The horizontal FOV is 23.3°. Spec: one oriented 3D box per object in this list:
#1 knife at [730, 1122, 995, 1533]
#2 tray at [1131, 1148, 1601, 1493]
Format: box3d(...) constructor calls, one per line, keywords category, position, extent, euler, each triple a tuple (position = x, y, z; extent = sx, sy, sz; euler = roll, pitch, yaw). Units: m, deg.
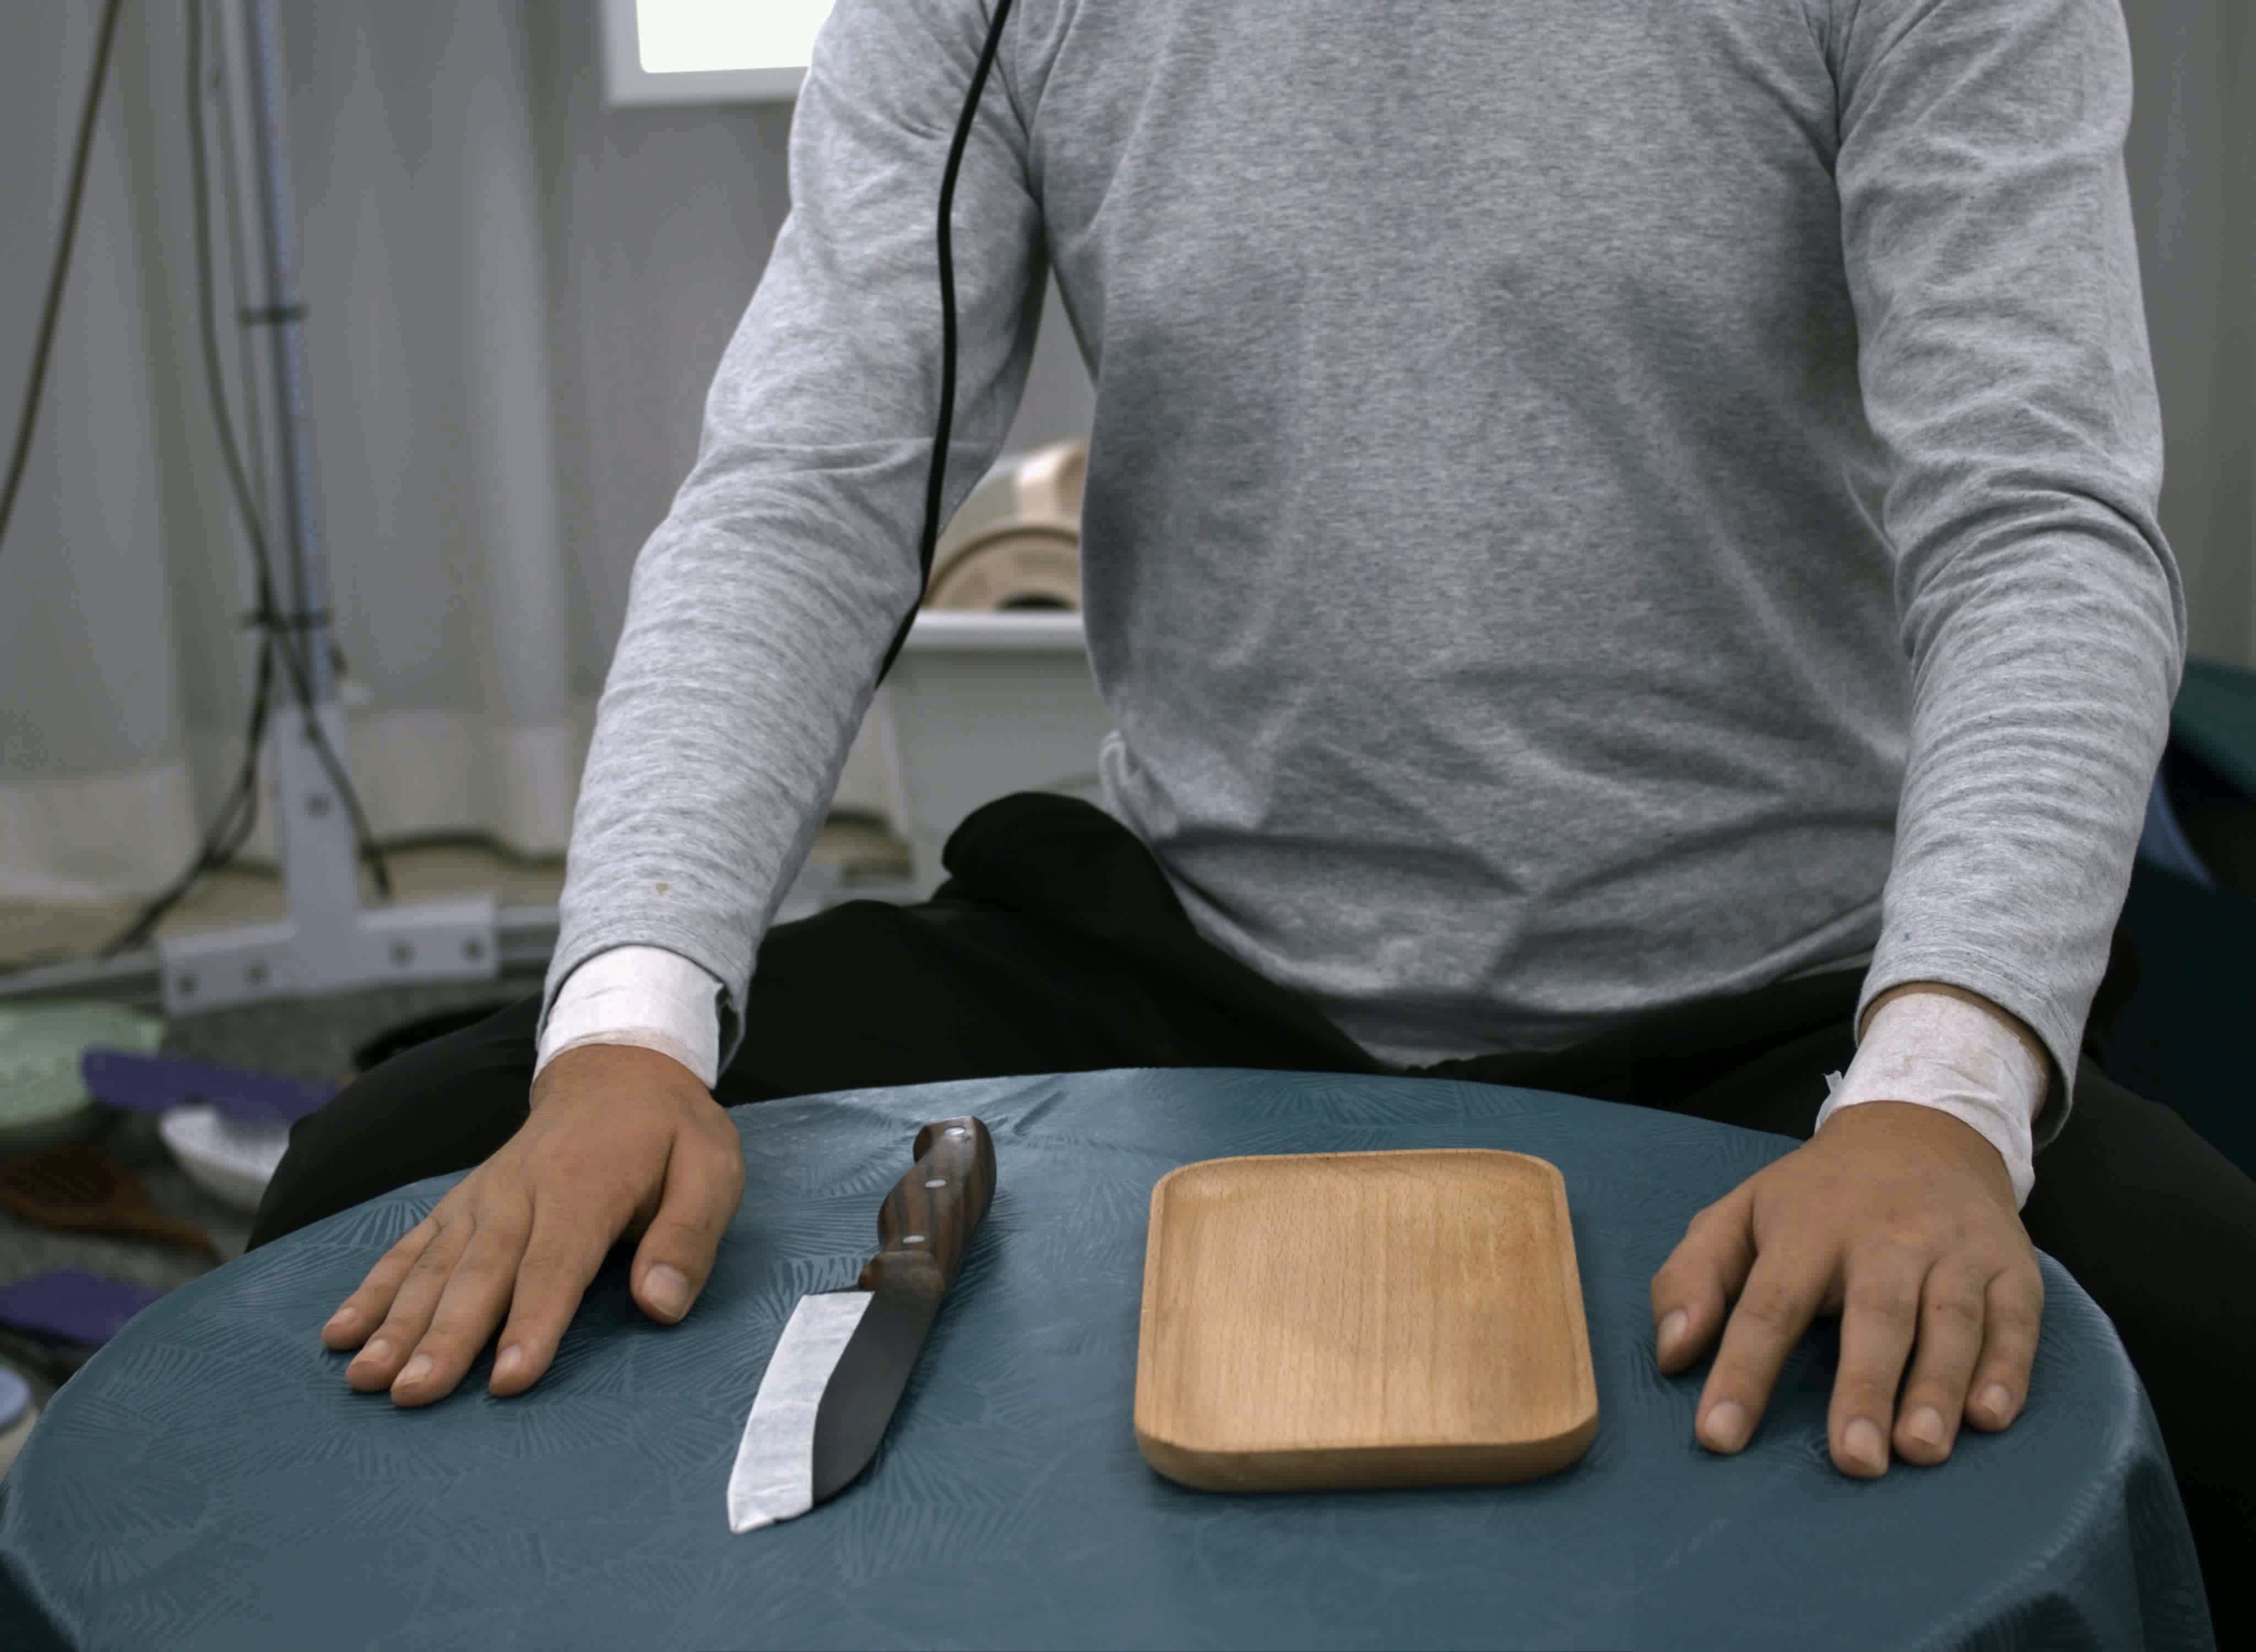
box3d(category="knife", position=(-0.075, 0.145, 1.590), extent=(0.050, 0.020, 0.291), euler=(-5, 16, 12))
box3d(category="tray", position=(0.068, 0.140, 1.579), extent=(0.130, 0.023, 0.252), euler=(0, 14, 3))
